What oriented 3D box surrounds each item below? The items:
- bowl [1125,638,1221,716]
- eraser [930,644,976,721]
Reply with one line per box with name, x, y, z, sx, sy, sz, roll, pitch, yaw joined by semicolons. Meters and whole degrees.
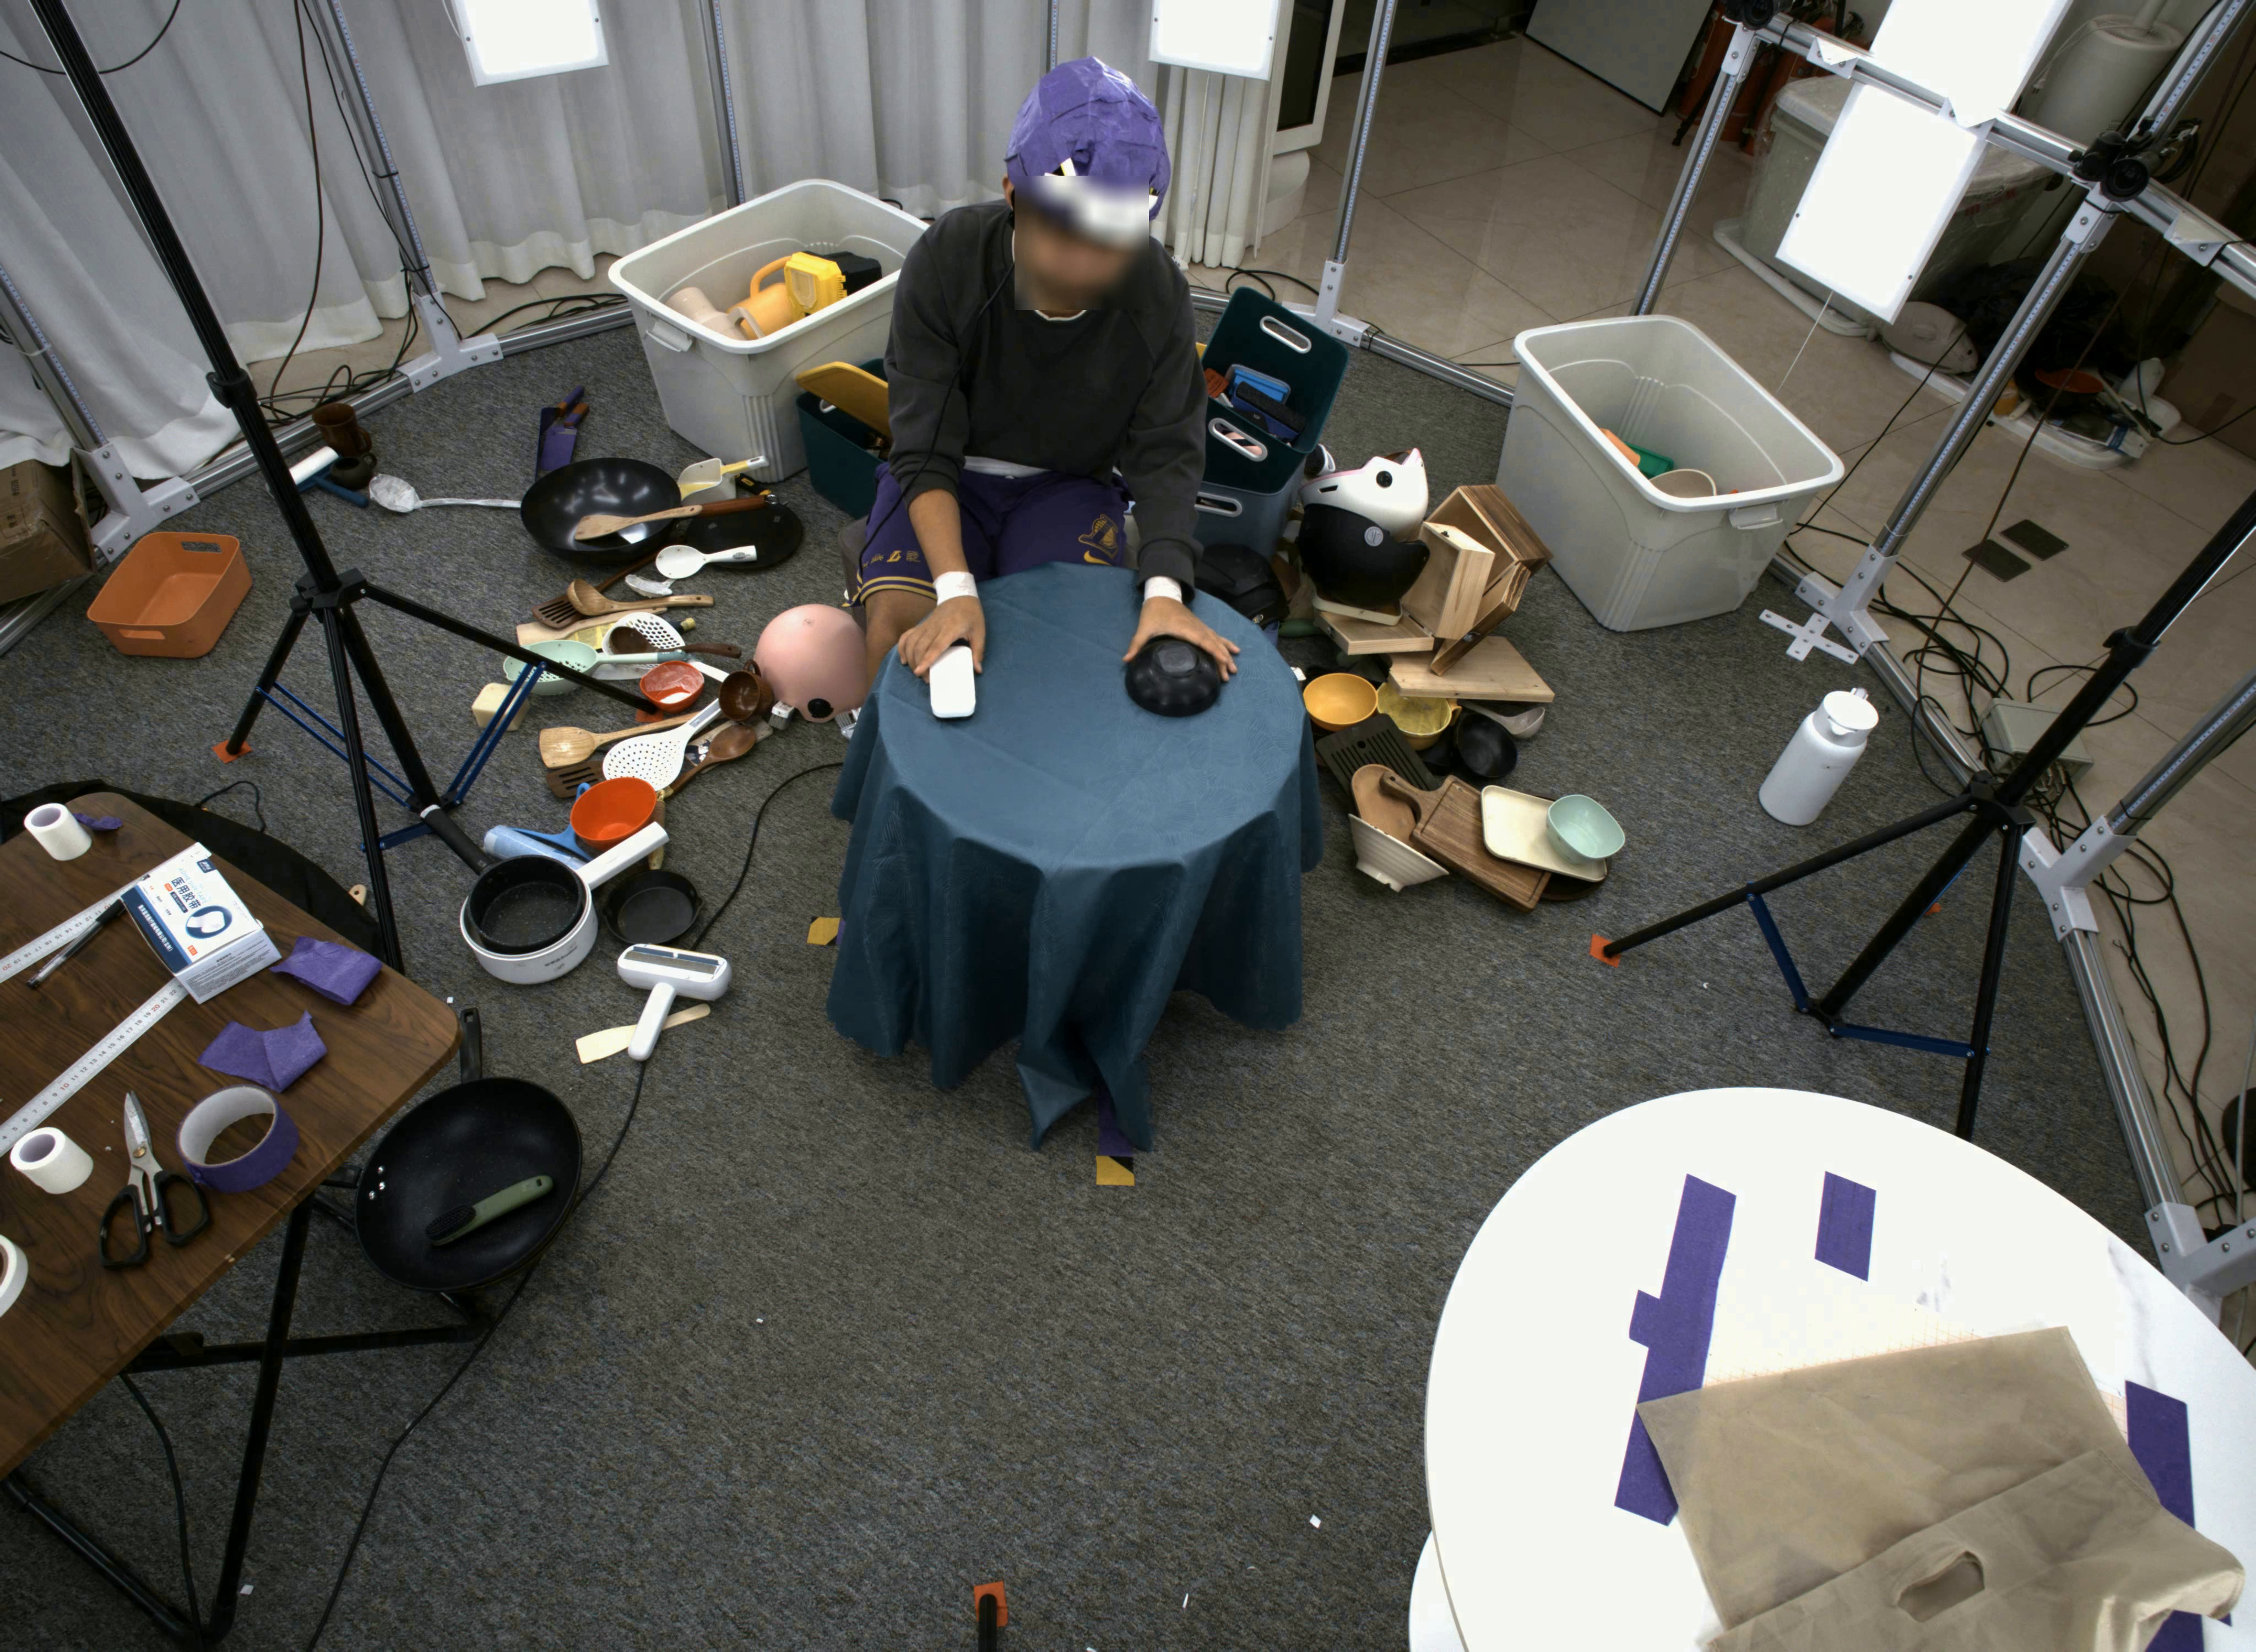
bowl;0.066;-0.224;1.831;0.140;0.048;0.143;1;50;-2
eraser;-0.245;-0.204;1.806;0.063;0.034;0.134;-1;51;-7
